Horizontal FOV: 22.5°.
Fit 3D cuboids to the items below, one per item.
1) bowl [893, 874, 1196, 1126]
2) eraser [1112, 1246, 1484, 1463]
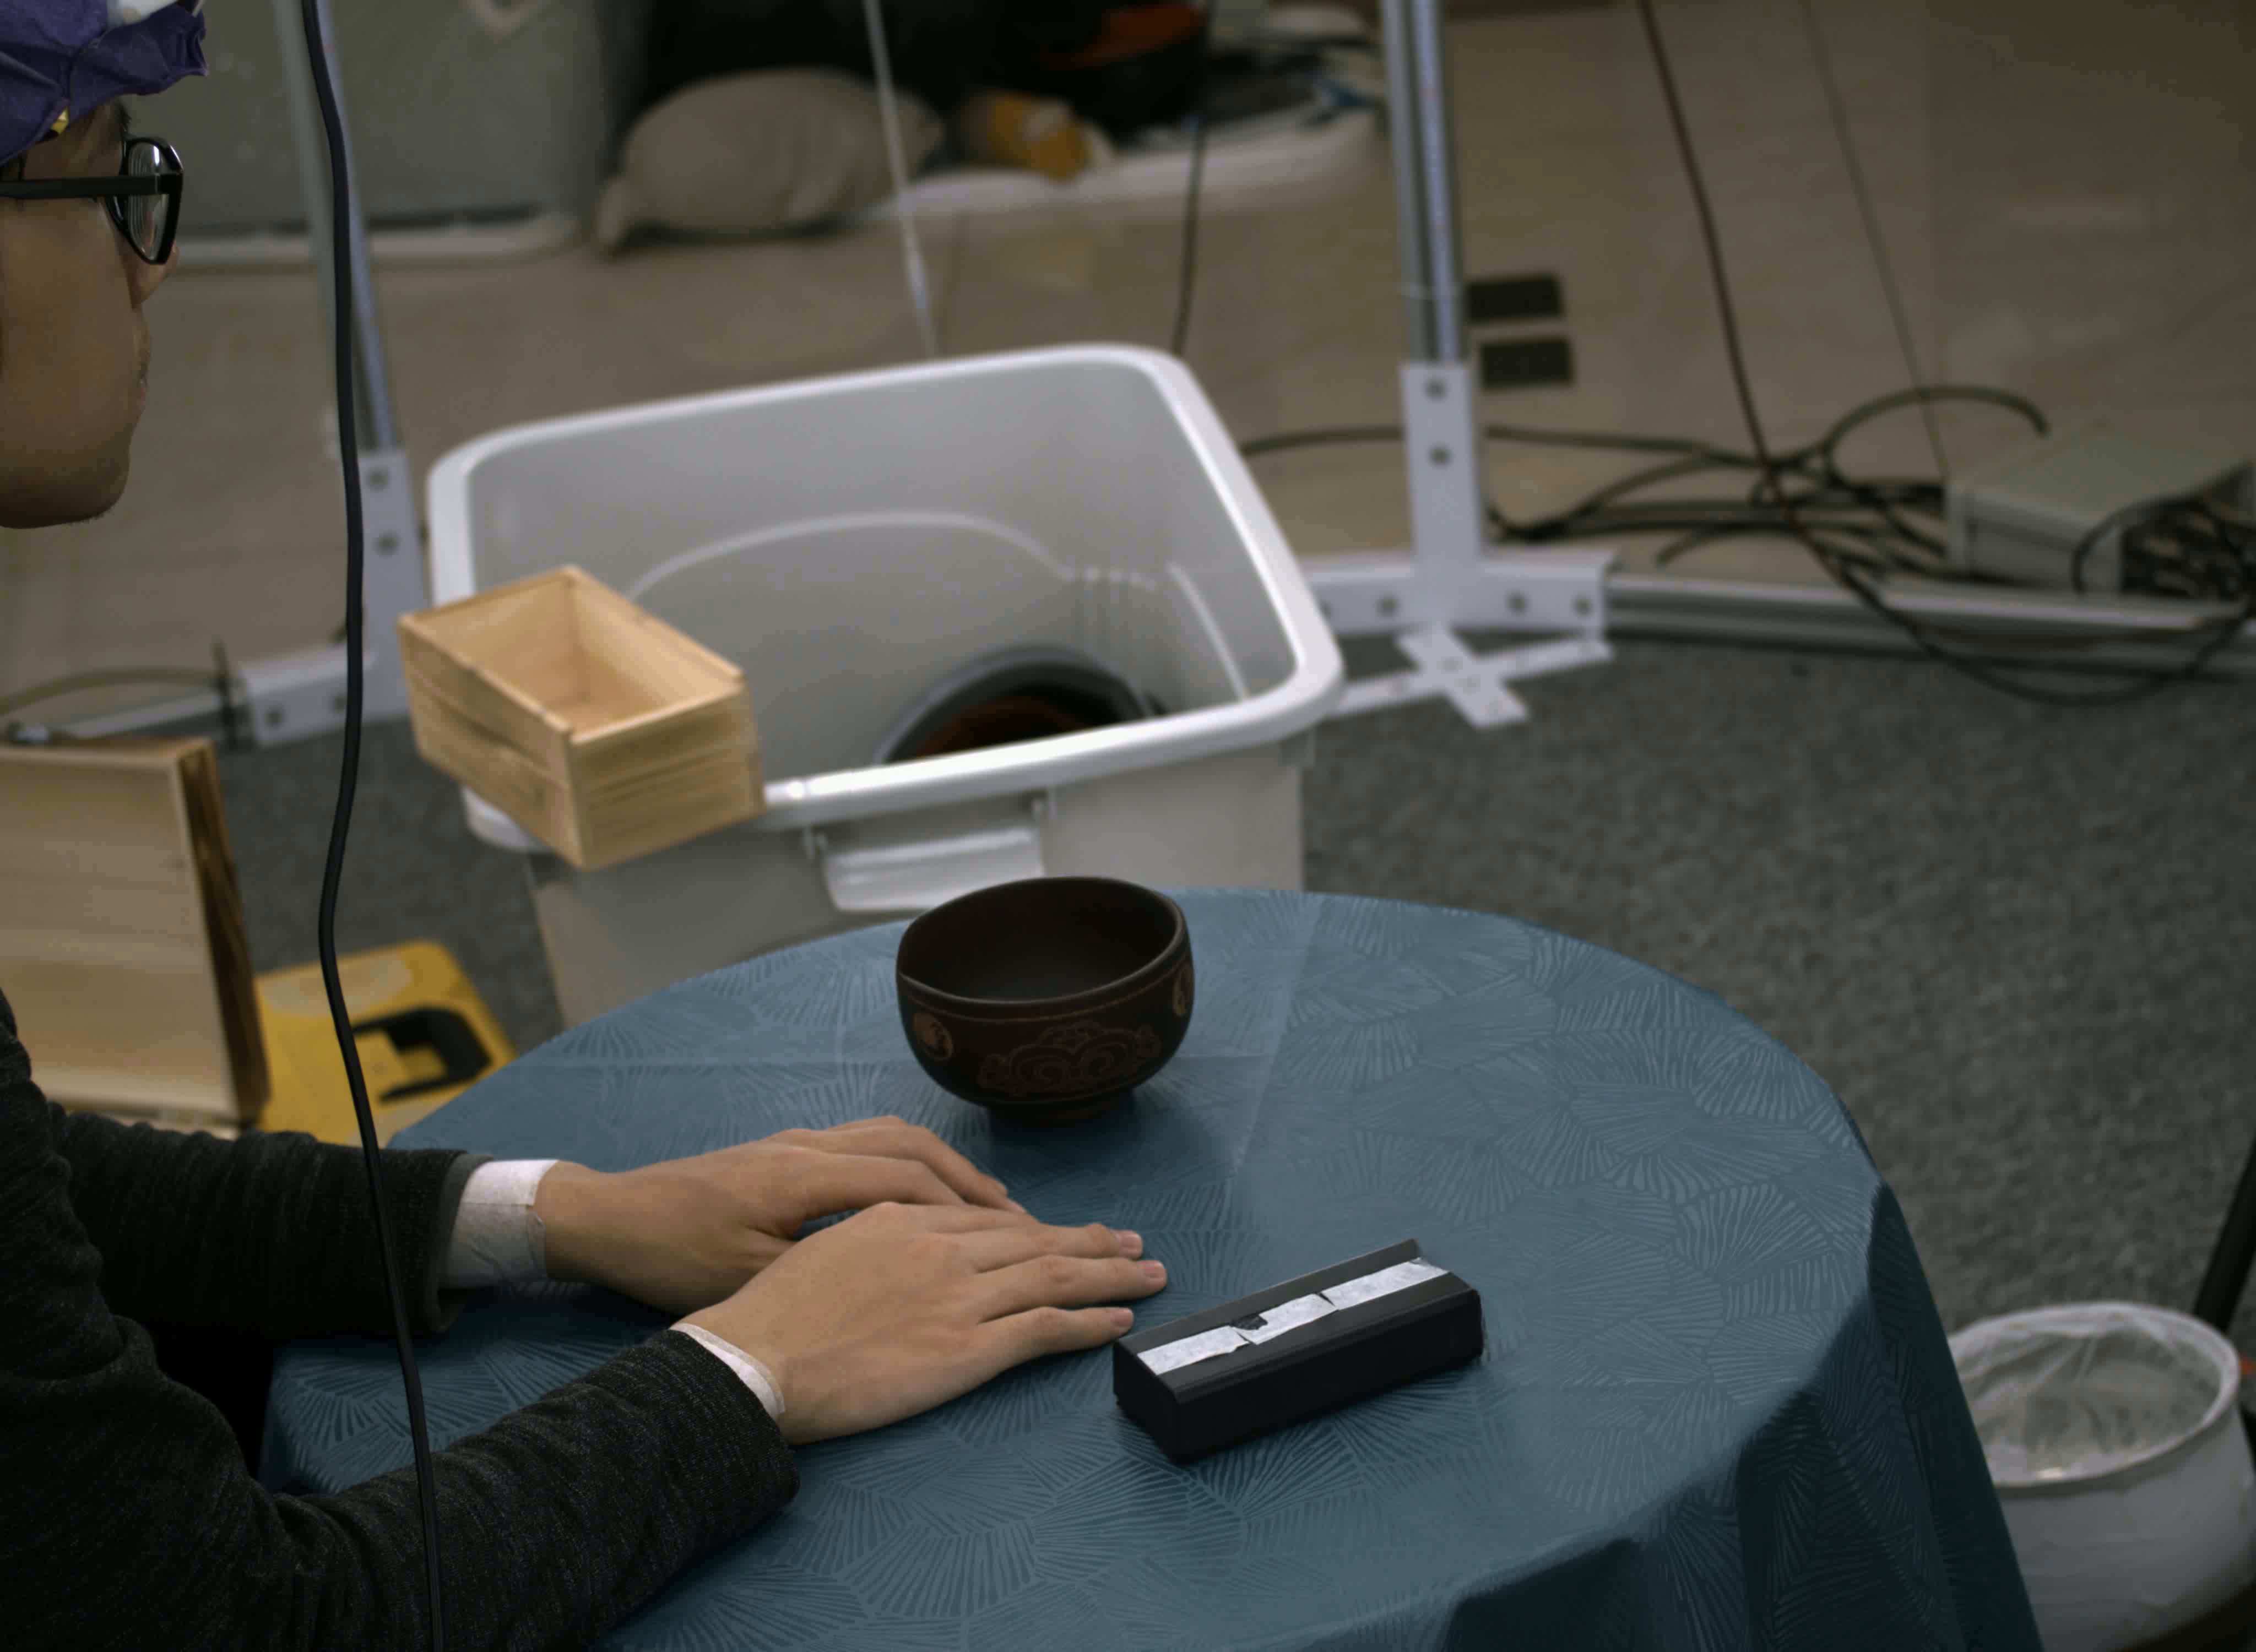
[{"bbox_3d":[-0.031,0.074,2.211,0.118,0.071,0.116,-4,27,2],"label":"bowl"},{"bbox_3d":[0.061,0.185,2.000,0.125,0.031,0.053,-18,25,-22],"label":"eraser"}]
